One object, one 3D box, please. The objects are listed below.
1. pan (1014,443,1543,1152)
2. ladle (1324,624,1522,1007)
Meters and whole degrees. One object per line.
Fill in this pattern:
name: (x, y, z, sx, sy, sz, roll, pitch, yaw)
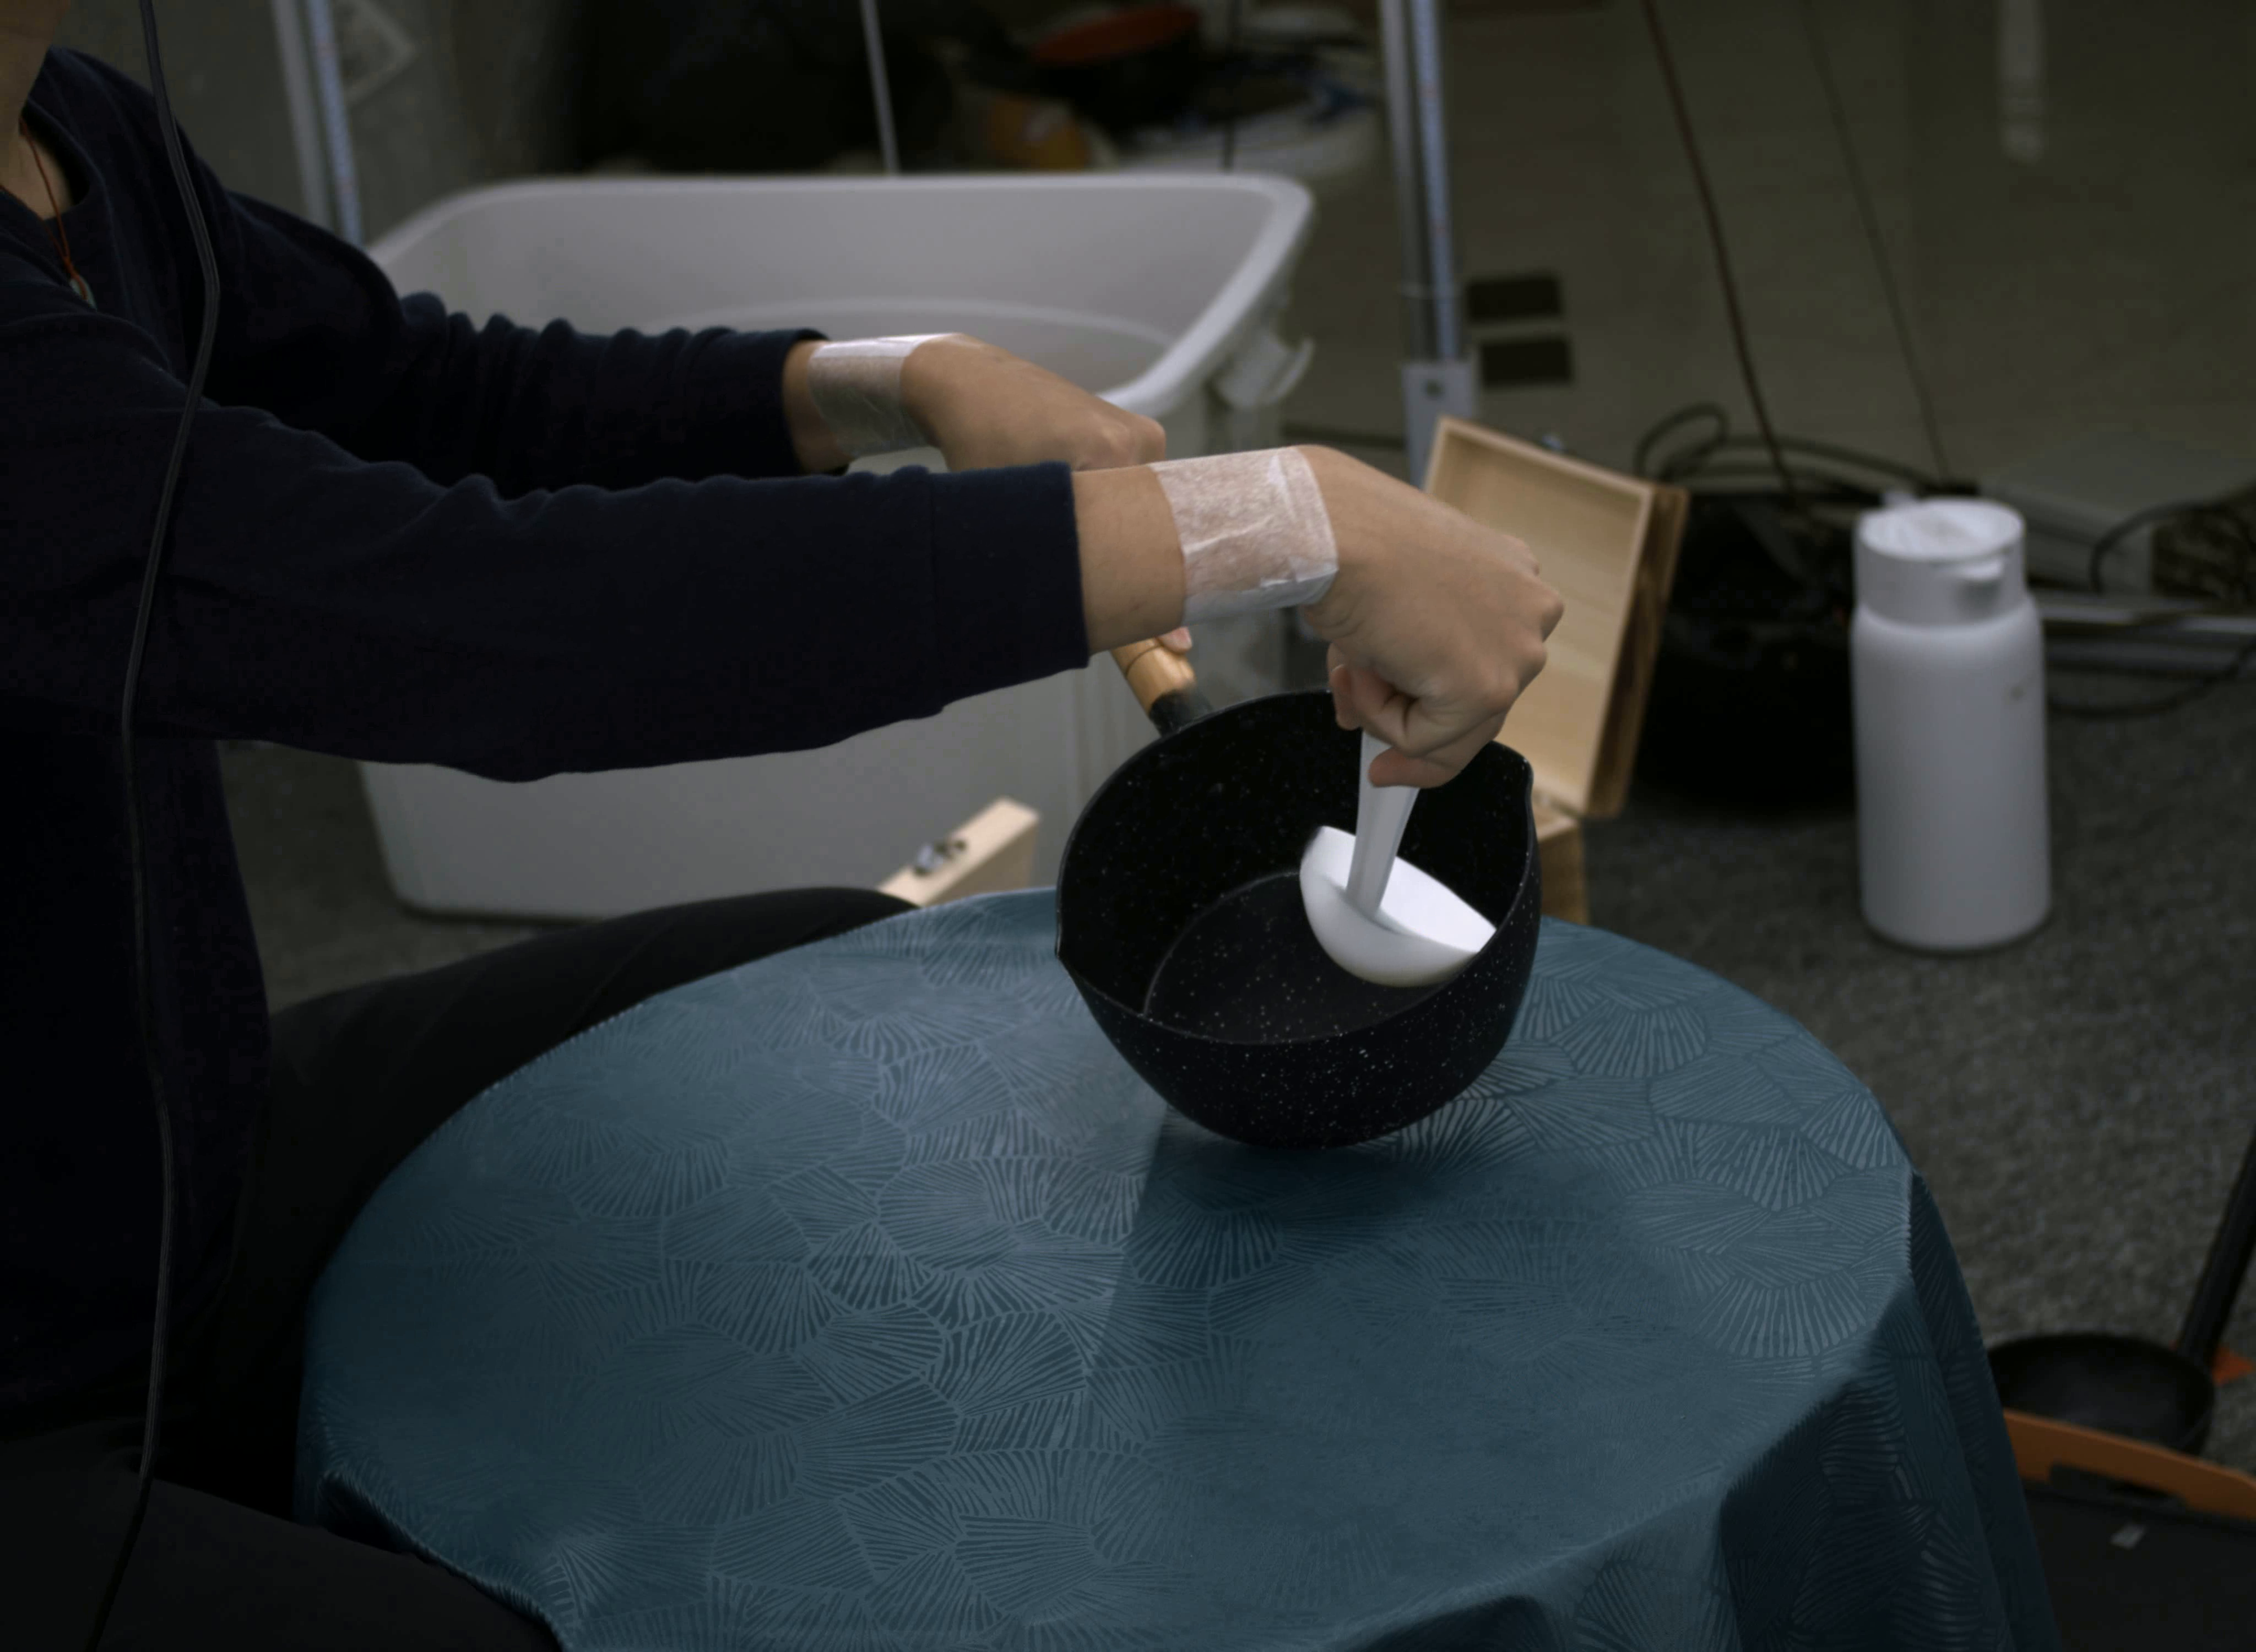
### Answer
pan: (0.036, -0.014, 2.226, 0.207, 0.110, 0.337, -26, 49, -9)
ladle: (0.109, -0.008, 2.021, 0.069, 0.297, 0.089, -41, 74, -17)
